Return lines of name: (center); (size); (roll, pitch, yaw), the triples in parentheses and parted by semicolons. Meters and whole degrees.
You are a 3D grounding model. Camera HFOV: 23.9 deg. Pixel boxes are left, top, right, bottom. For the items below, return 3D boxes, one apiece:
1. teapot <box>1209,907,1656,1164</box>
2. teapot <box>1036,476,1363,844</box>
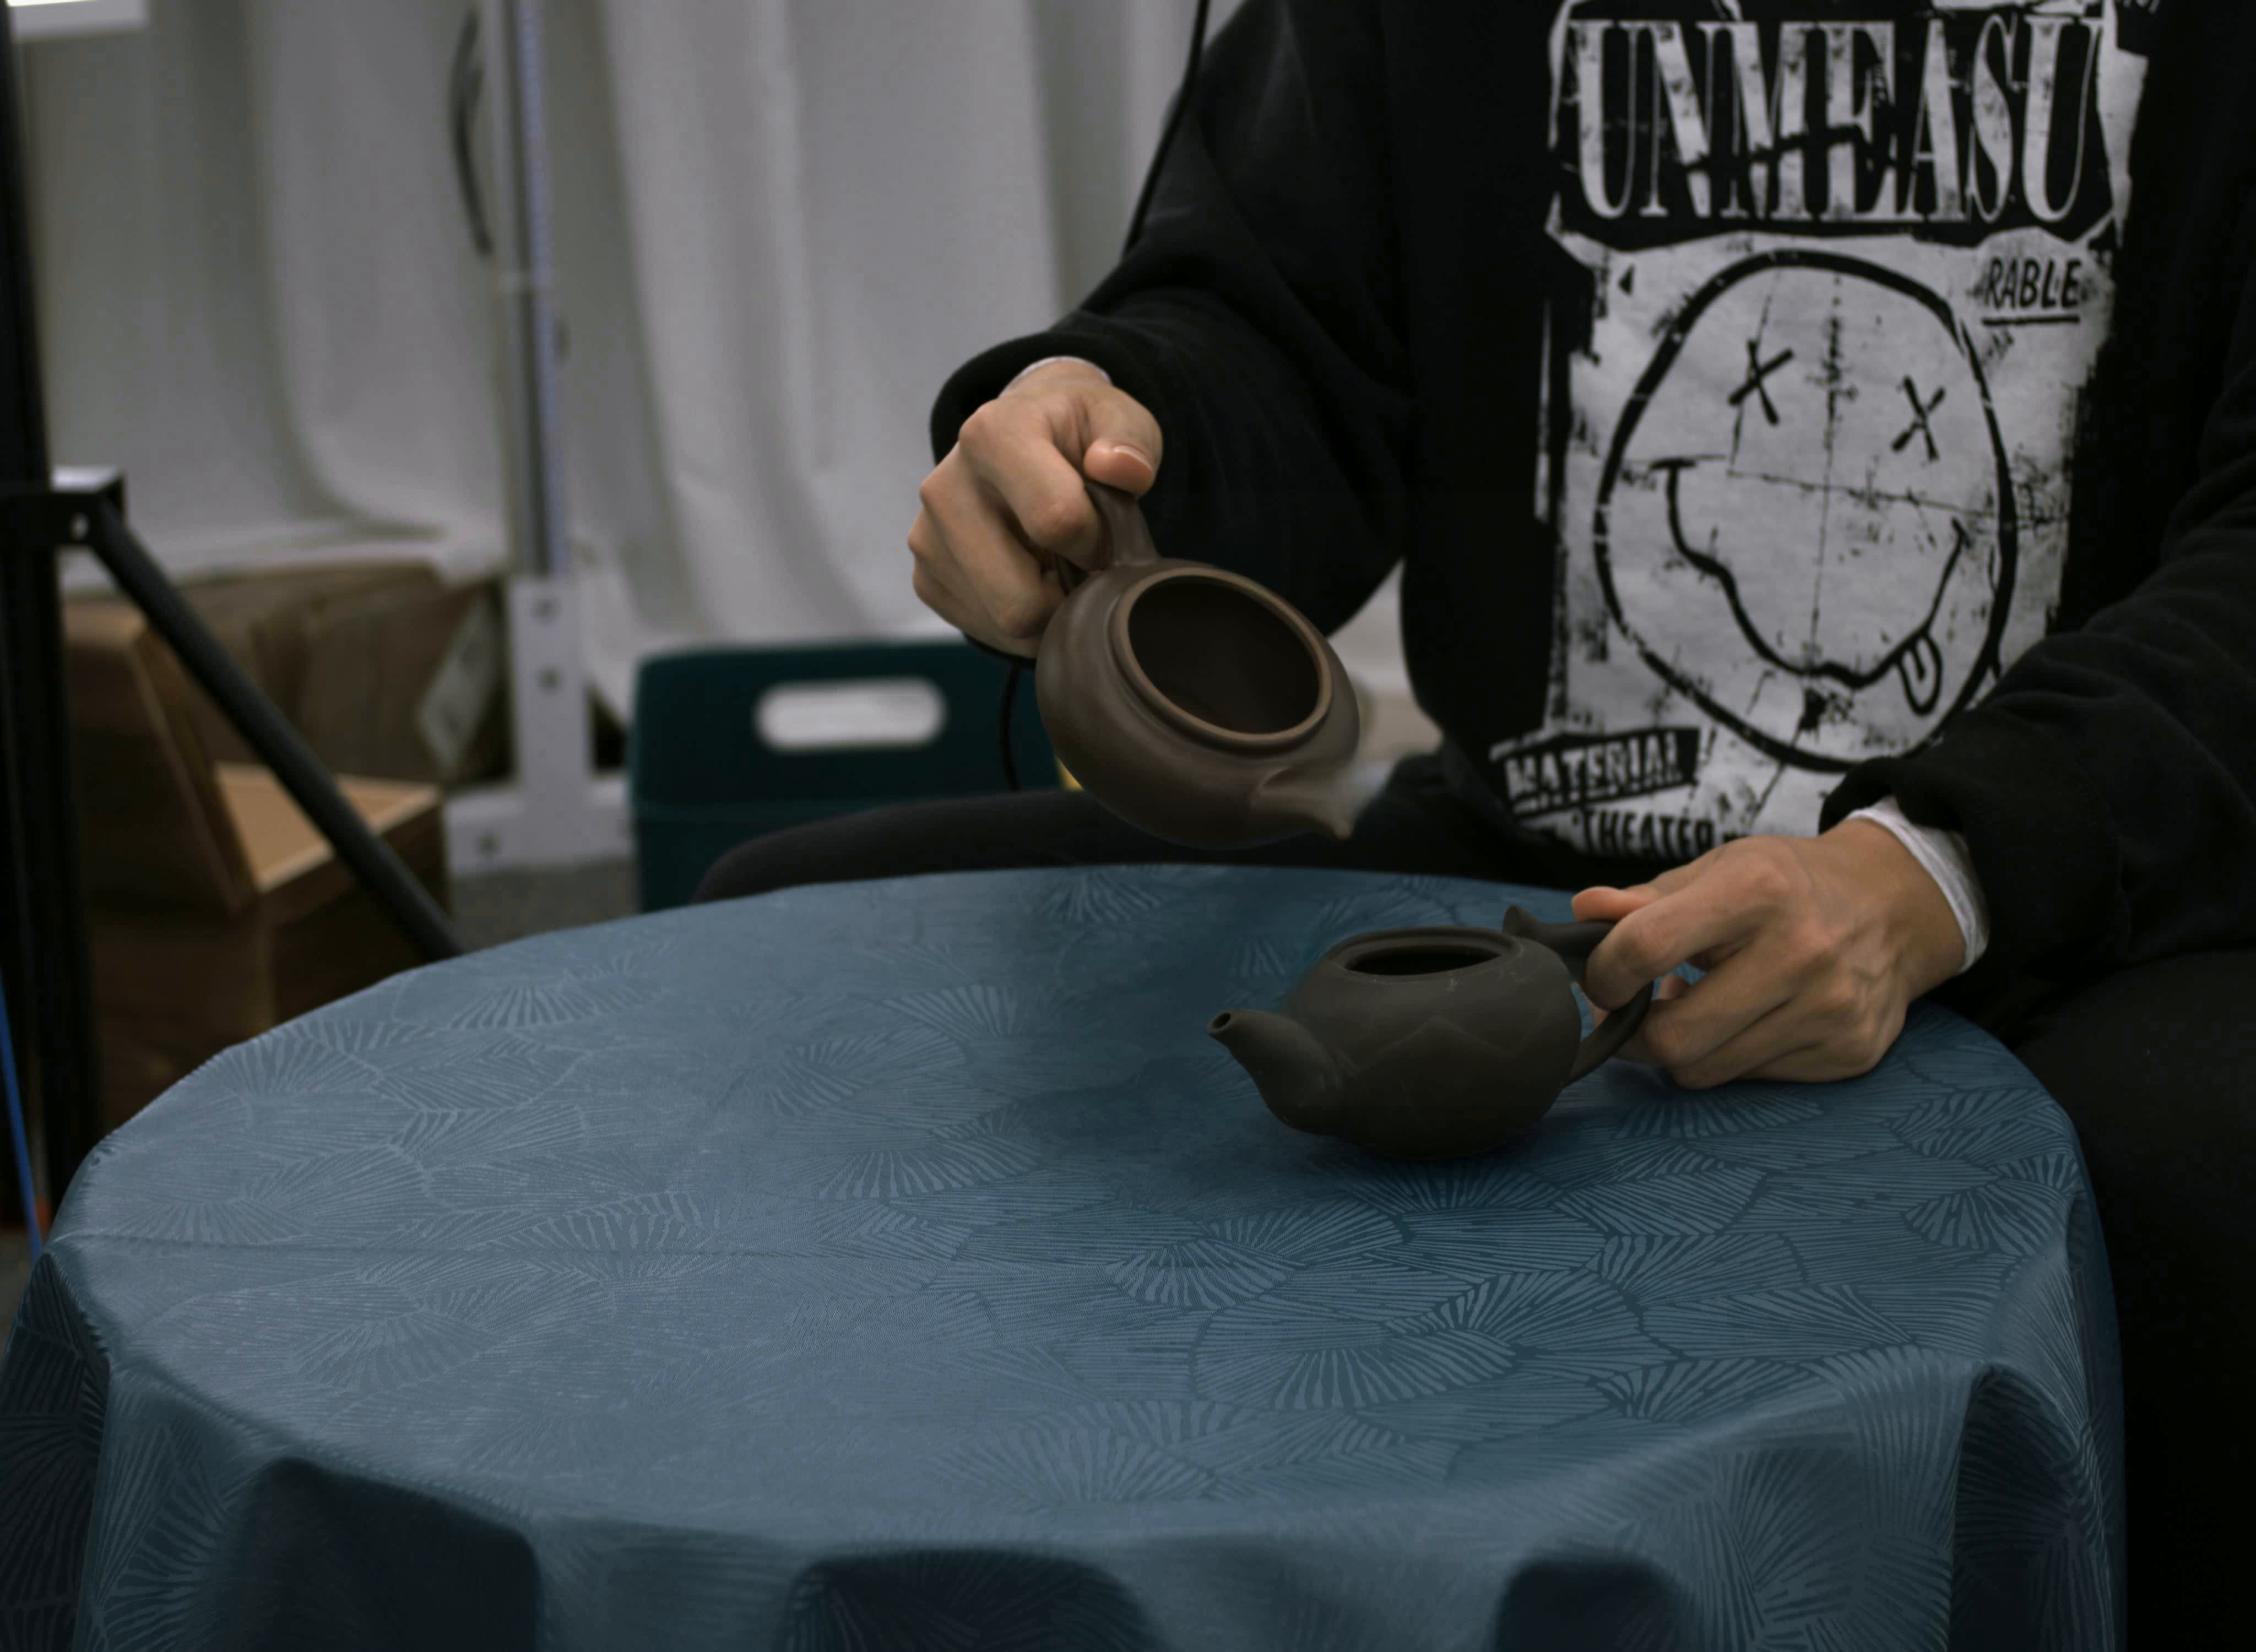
teapot: (0.092, 0.062, 1.580); (0.151, 0.064, 0.094); (-13, 18, -25)
teapot: (0.019, -0.043, 1.617); (0.100, 0.054, 0.156); (-16, 59, -39)
